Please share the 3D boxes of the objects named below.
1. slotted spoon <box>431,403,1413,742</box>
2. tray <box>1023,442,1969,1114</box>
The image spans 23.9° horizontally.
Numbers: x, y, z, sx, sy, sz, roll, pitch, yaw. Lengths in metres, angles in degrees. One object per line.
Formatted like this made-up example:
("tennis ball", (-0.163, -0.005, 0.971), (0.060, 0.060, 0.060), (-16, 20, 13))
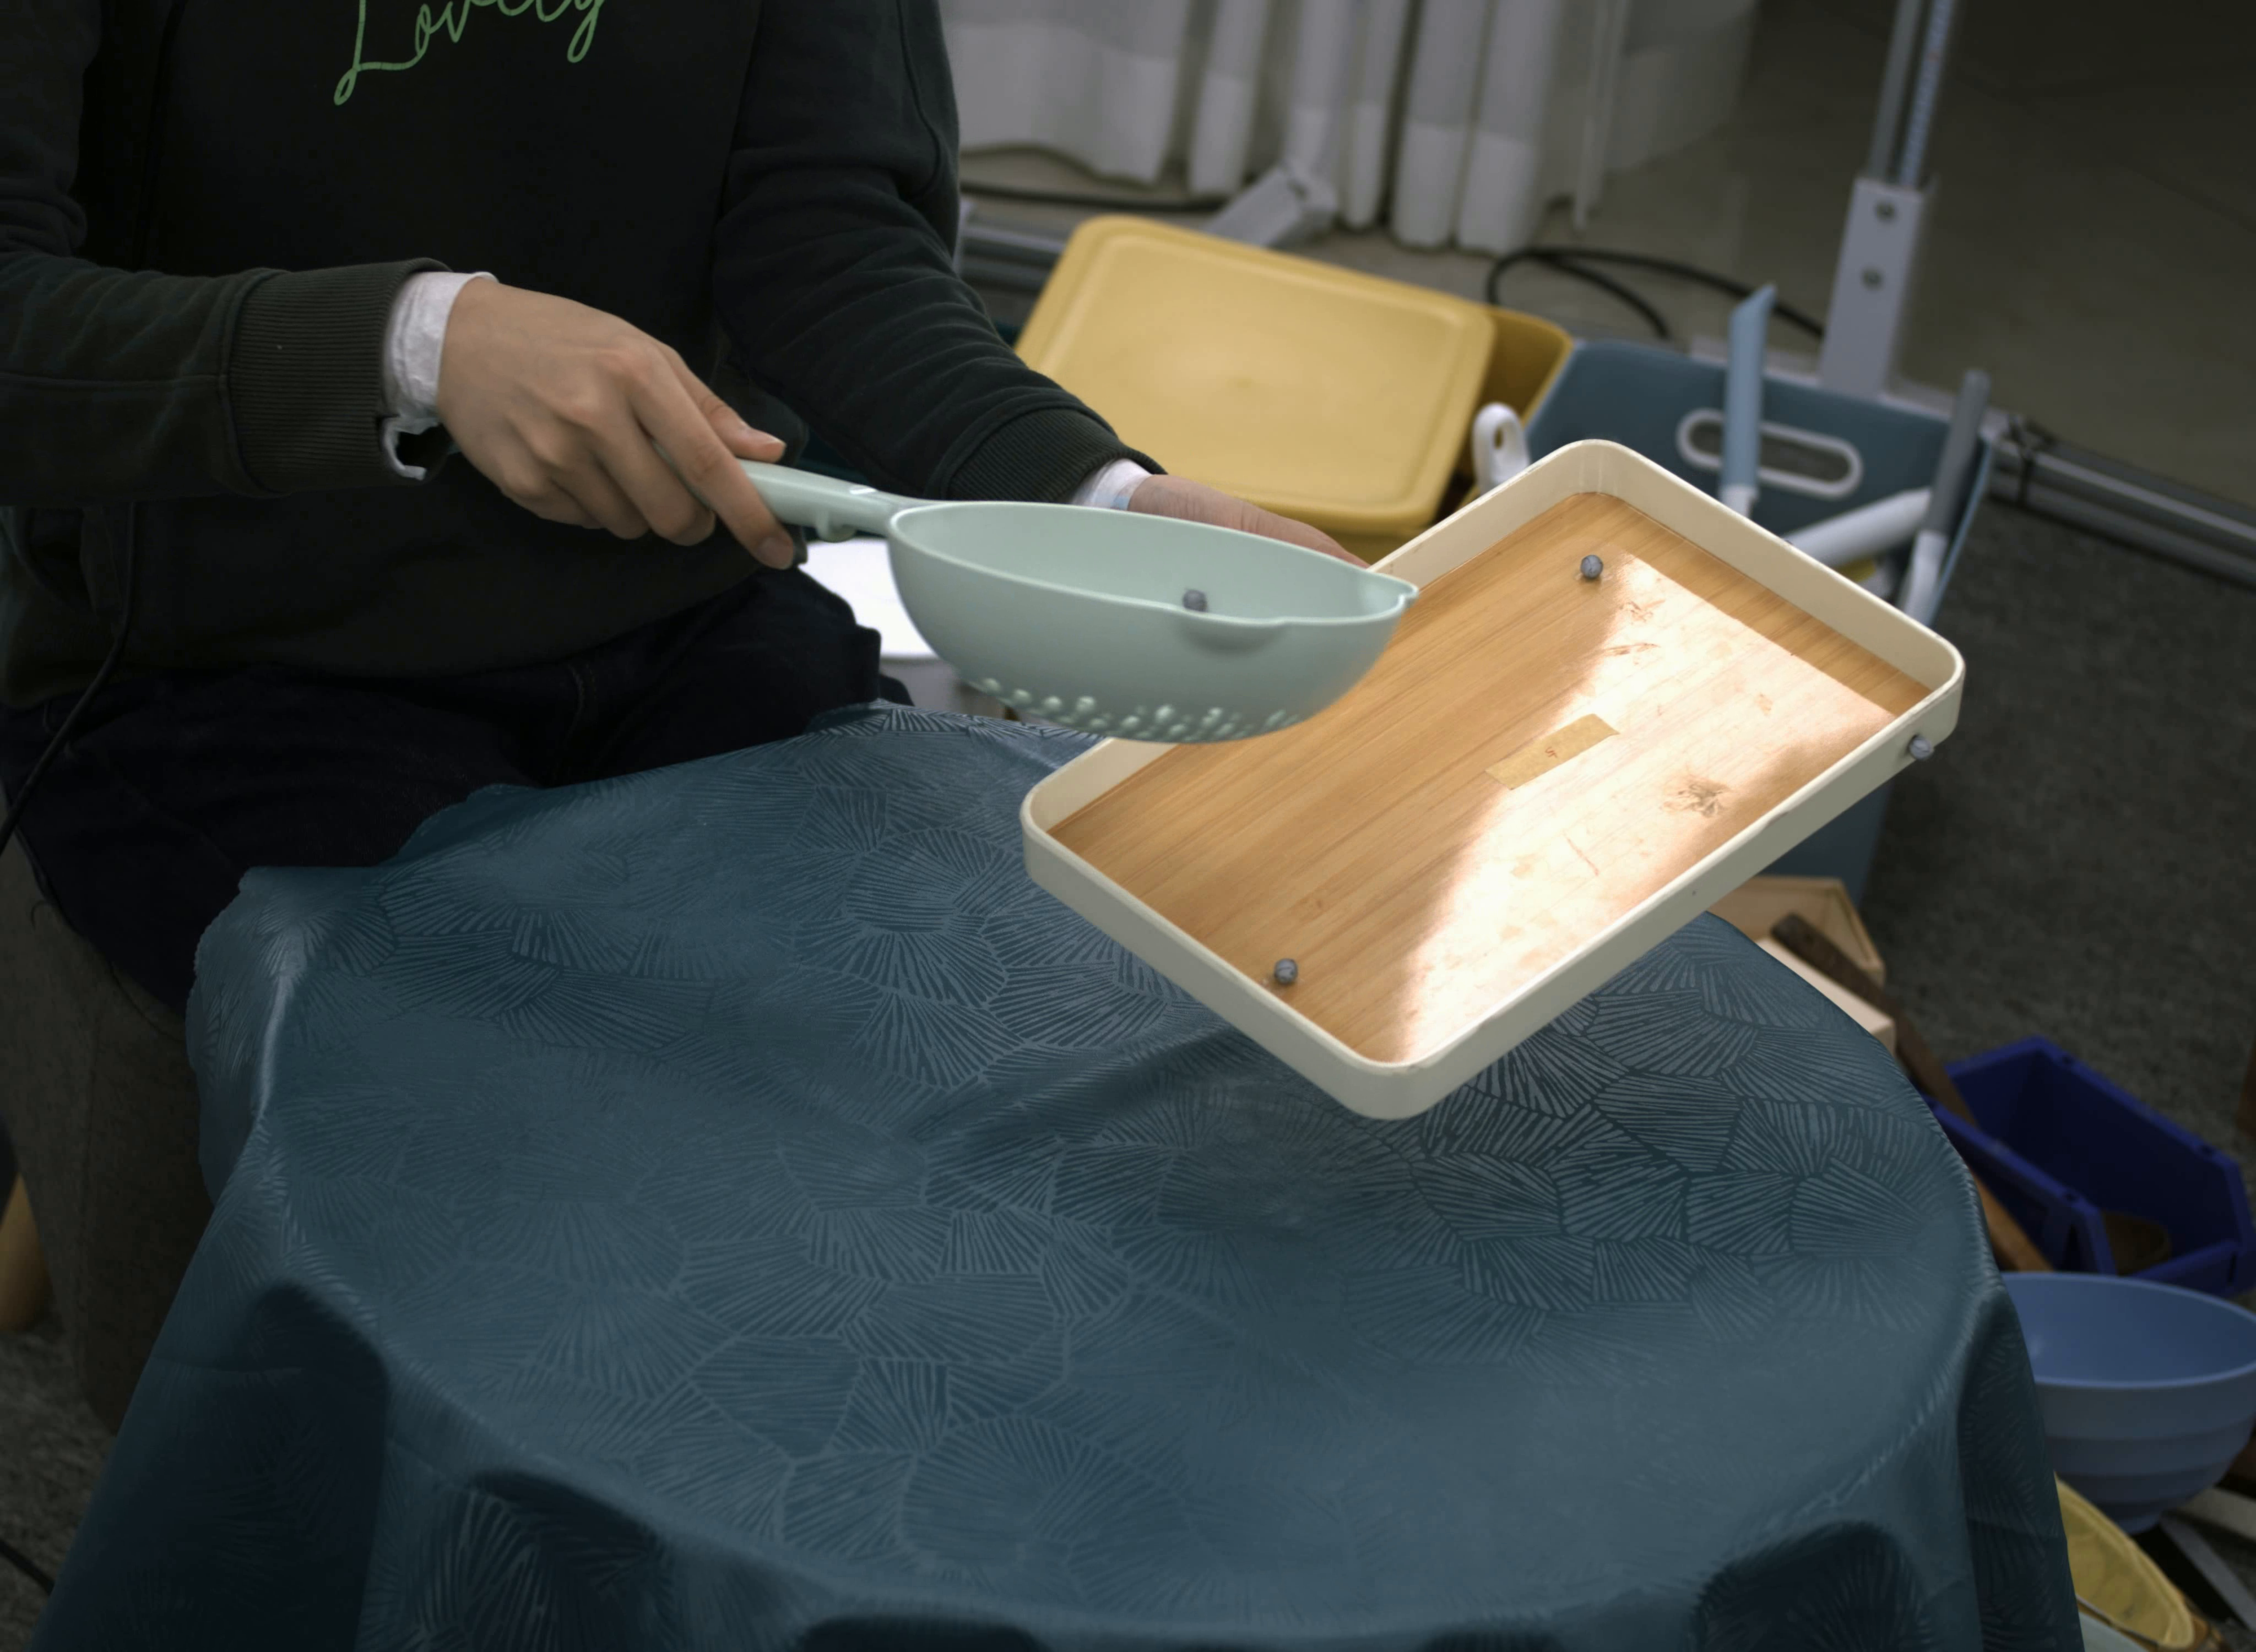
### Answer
("slotted spoon", (-0.082, -0.098, 1.764), (0.360, 0.075, 0.168), (23, 16, 25))
("tray", (0.129, -0.023, 1.850), (0.299, 0.027, 0.193), (-32, 50, -30))
